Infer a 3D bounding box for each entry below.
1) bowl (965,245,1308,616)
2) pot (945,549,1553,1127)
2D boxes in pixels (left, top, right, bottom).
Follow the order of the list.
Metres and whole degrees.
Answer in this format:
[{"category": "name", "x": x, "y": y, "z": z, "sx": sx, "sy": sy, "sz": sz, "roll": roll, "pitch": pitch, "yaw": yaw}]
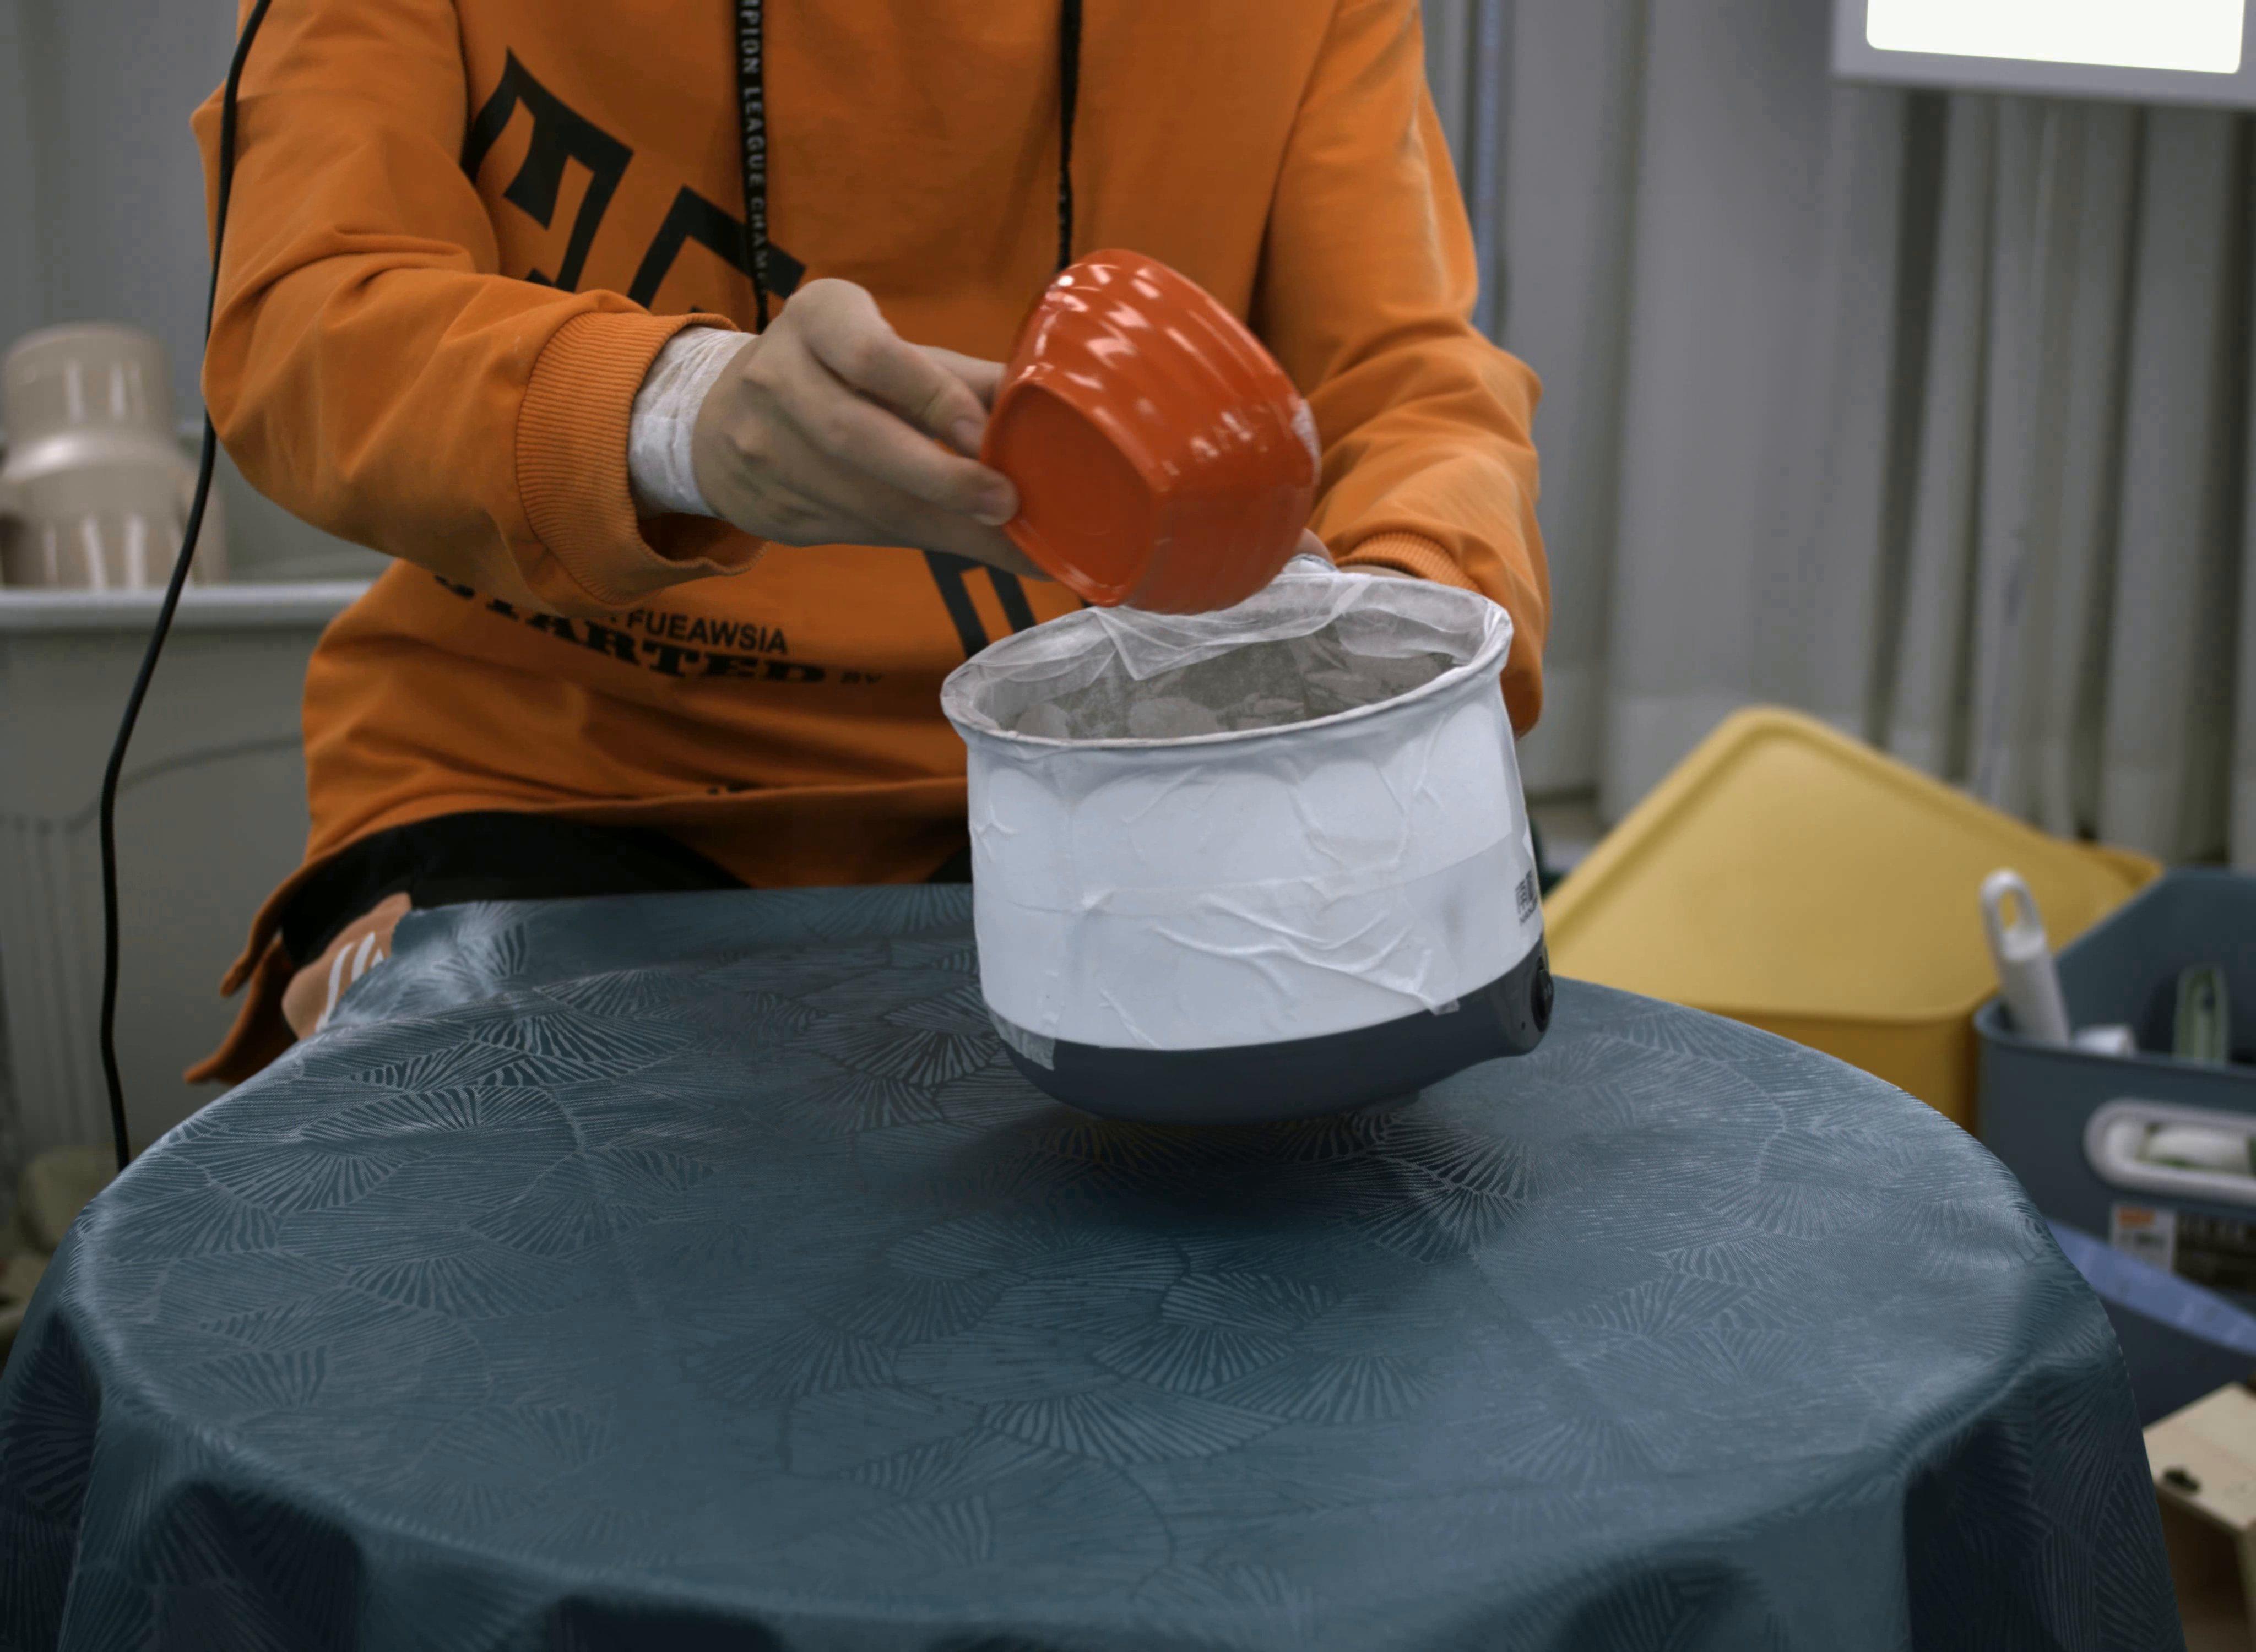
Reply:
[{"category": "bowl", "x": -0.006, "y": -0.110, "z": 1.580, "sx": 0.117, "sy": 0.120, "sz": 0.051, "roll": 14, "pitch": 39, "yaw": 39}, {"category": "pot", "x": 0.046, "y": -0.002, "z": 1.655, "sx": 0.177, "sy": 0.138, "sz": 0.233, "roll": -2, "pitch": 18, "yaw": 15}]
